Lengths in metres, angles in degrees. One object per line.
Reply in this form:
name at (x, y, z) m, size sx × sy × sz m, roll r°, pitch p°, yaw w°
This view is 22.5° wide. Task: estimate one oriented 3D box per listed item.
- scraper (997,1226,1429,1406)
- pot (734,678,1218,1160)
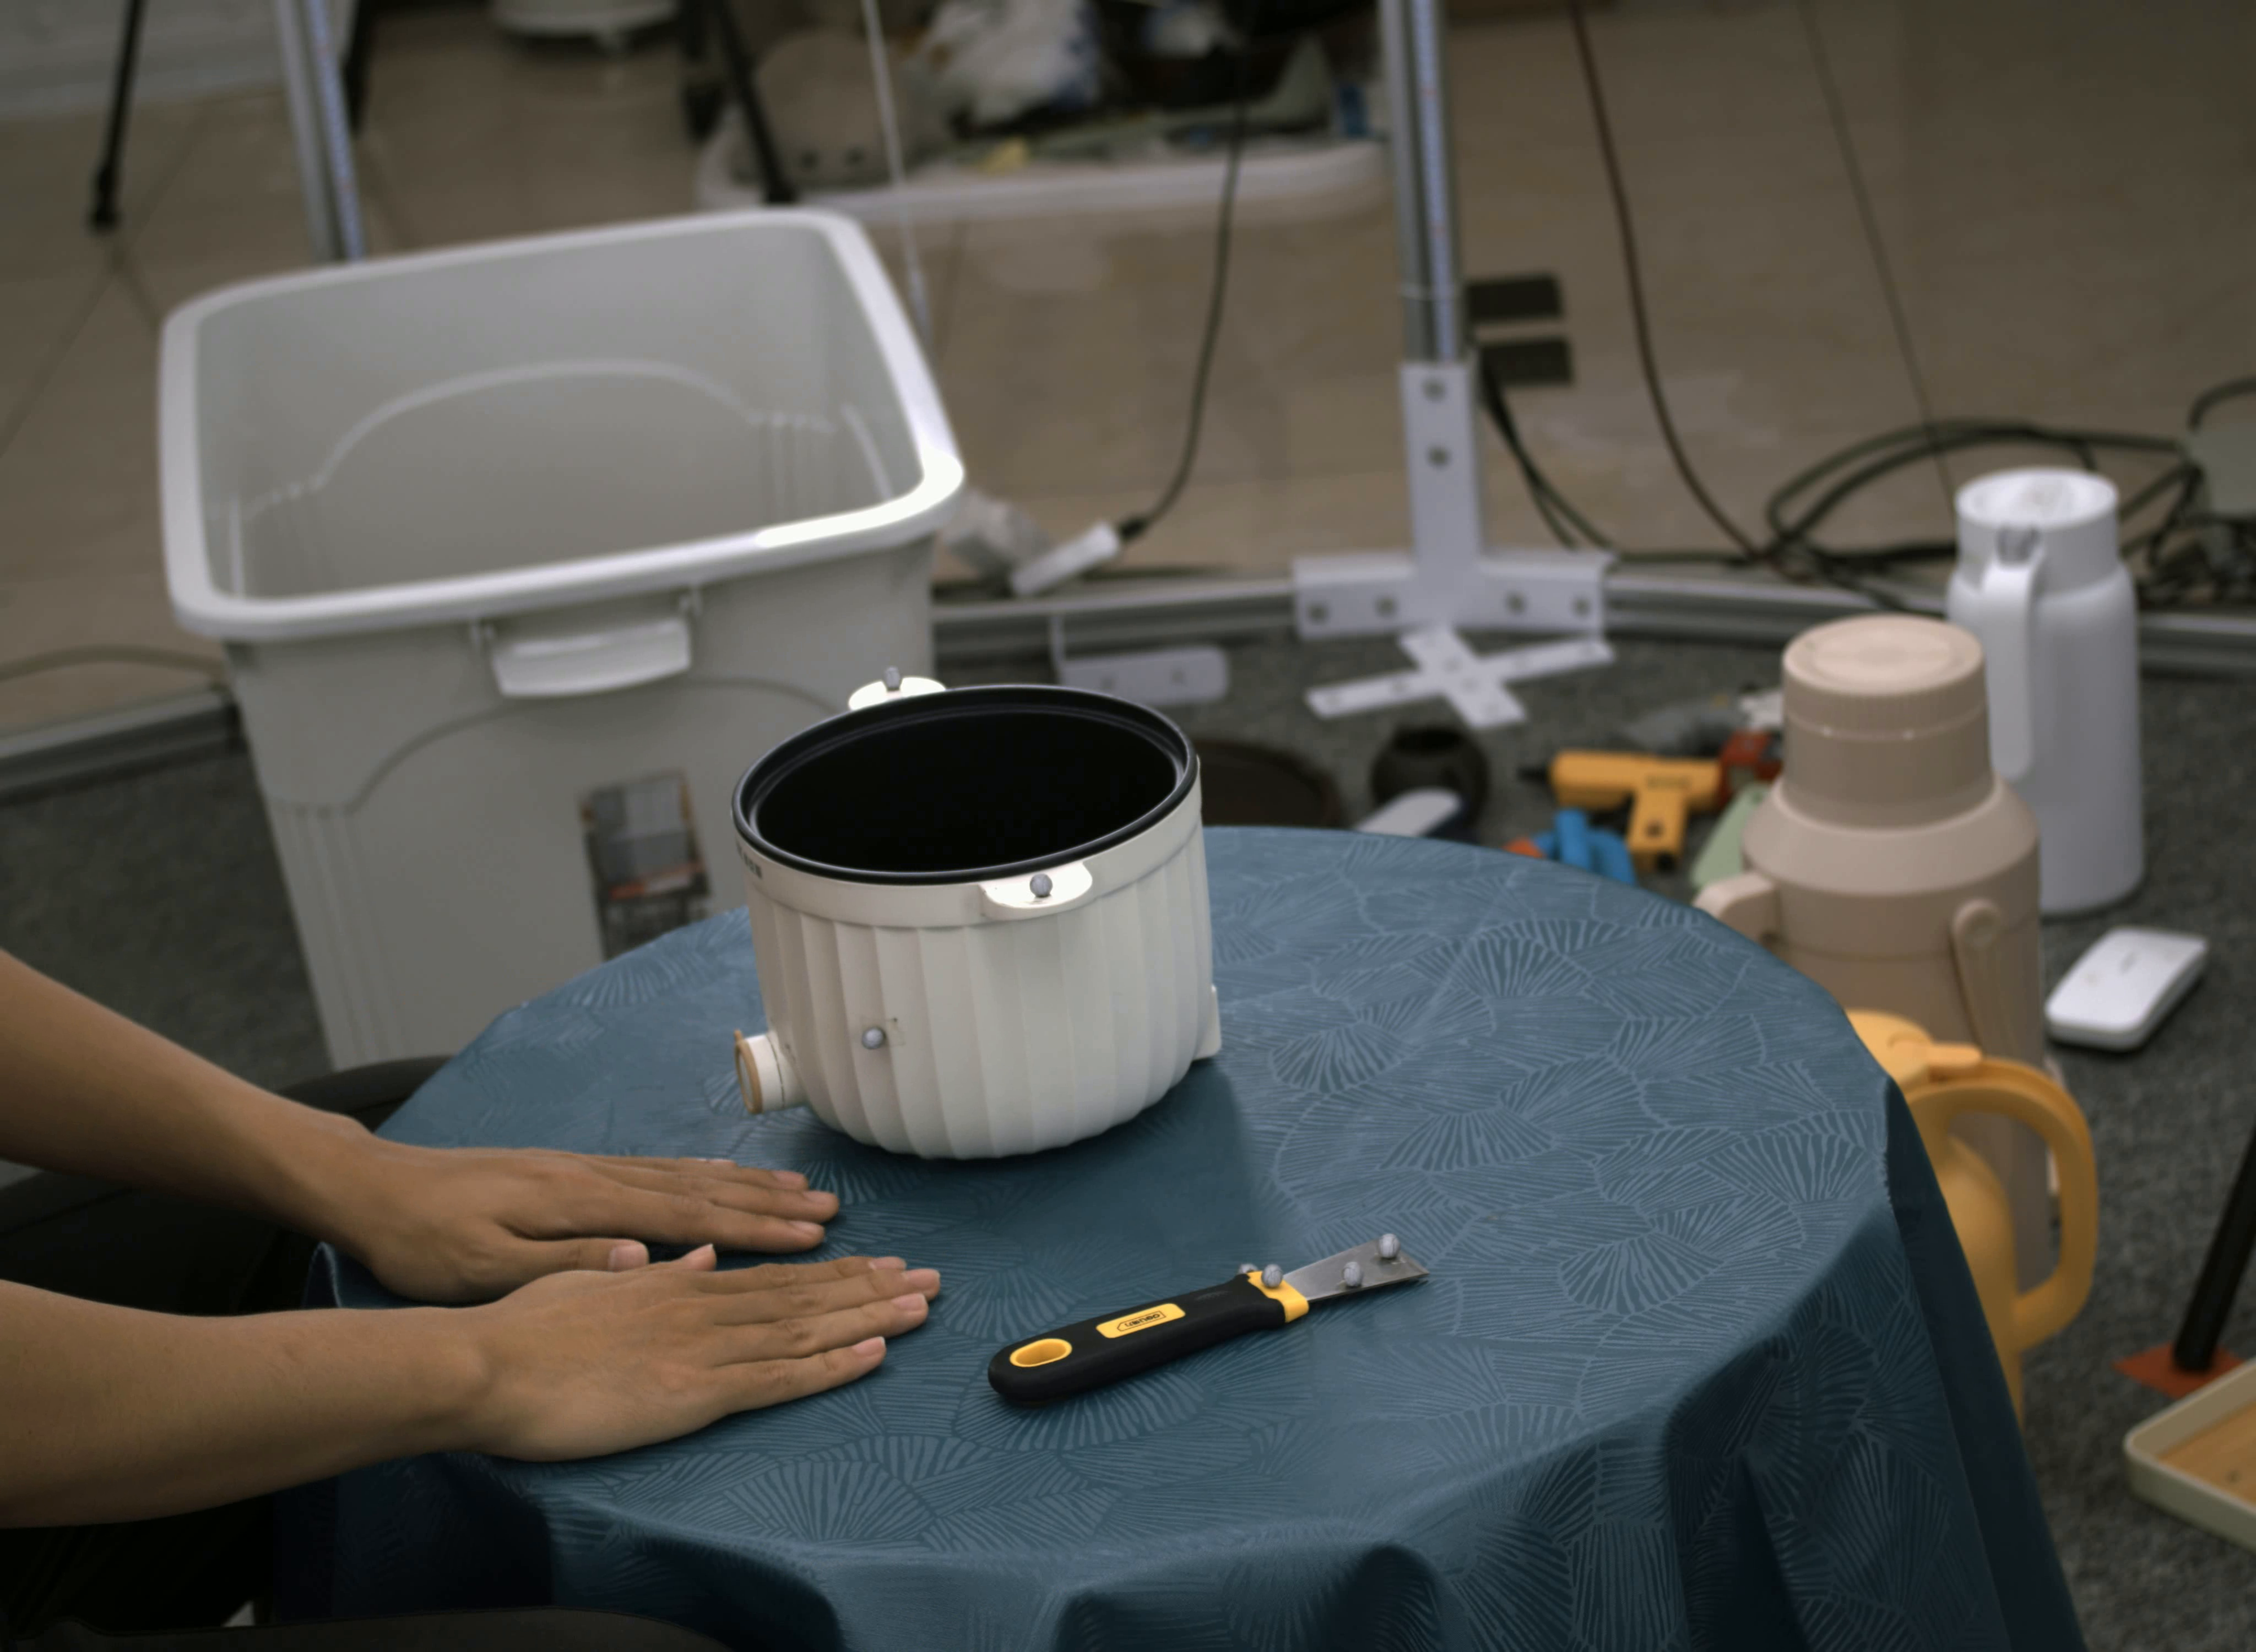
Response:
scraper at (0.030, 0.177, 2.045) m, size 0.170 × 0.015 × 0.038 m, roll -16°, pitch 31°, yaw -25°
pot at (-0.061, 0.043, 2.207) m, size 0.190 × 0.145 × 0.237 m, roll -9°, pitch 24°, yaw -16°
